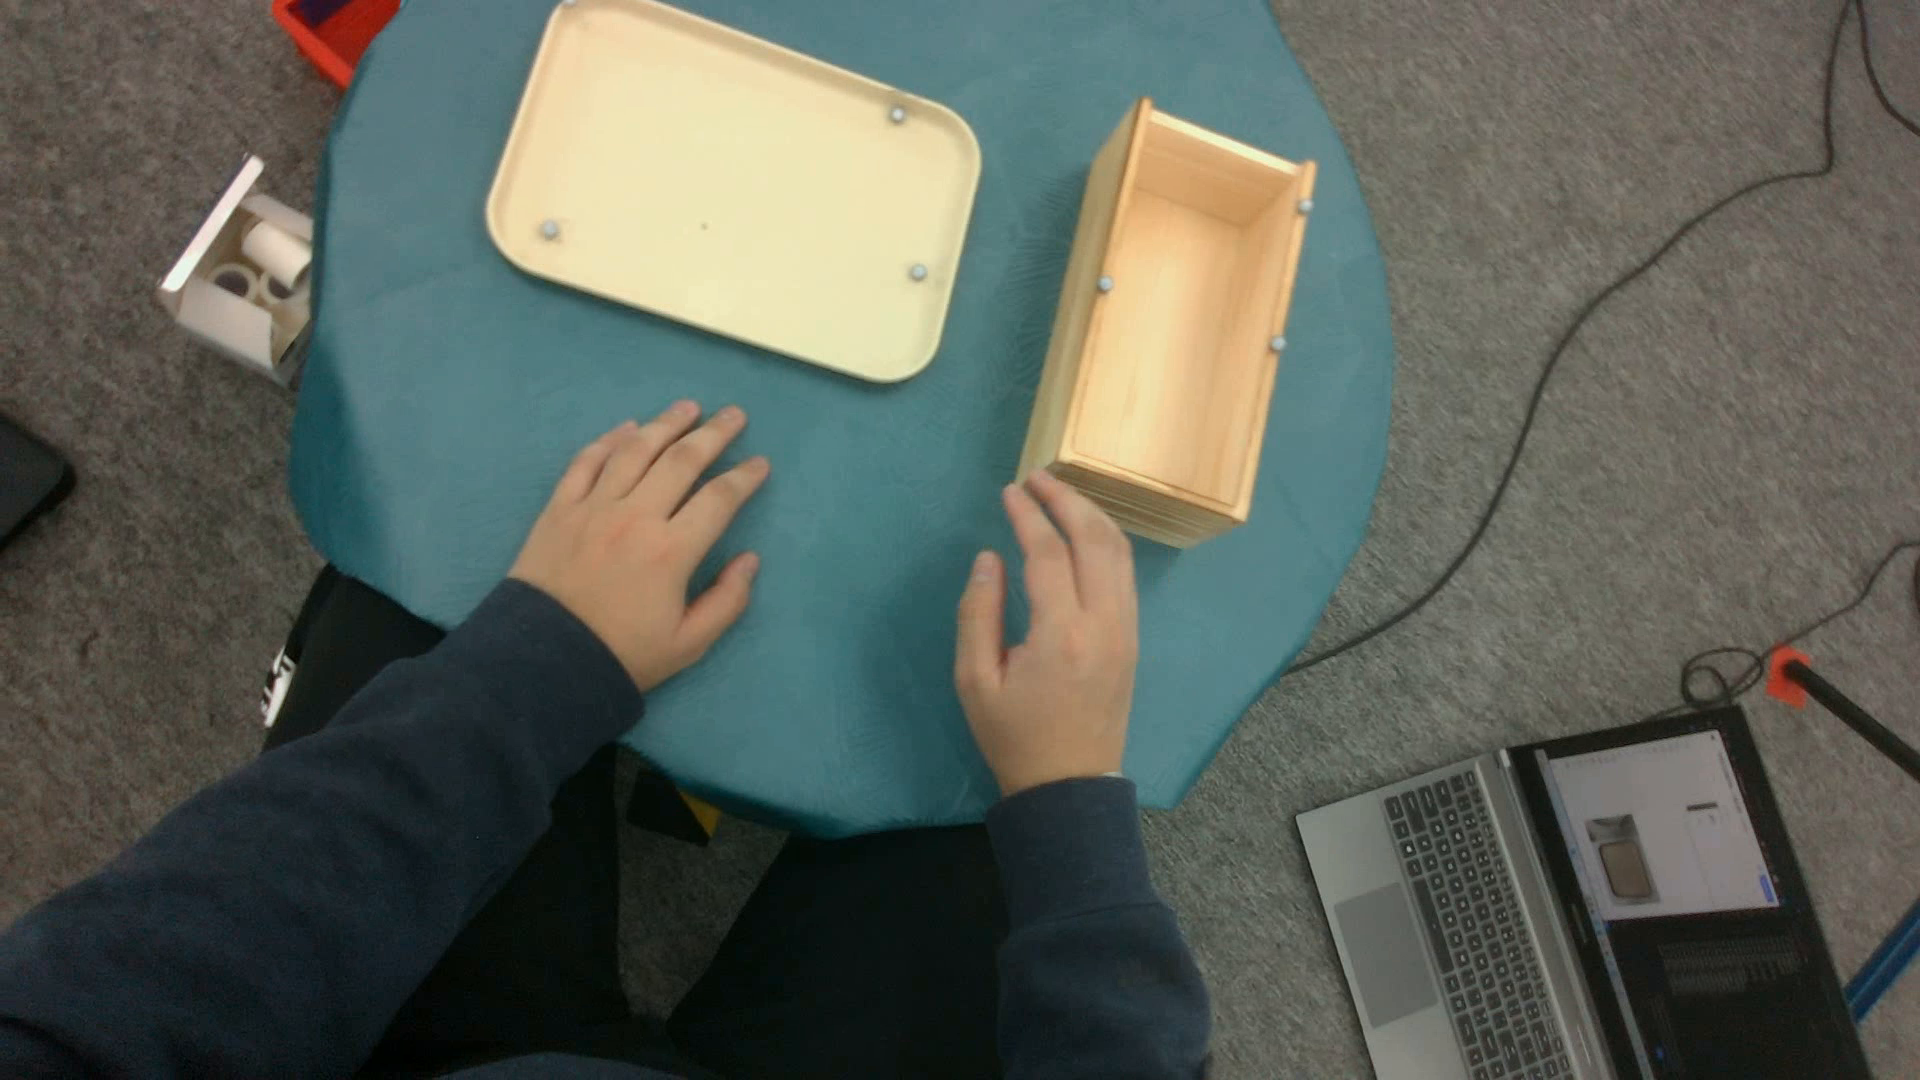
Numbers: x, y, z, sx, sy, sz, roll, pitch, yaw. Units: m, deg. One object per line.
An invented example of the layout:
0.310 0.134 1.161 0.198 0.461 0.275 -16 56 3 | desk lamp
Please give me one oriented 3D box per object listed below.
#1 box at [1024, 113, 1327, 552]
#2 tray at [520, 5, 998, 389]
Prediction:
0.120 -0.113 0.767 0.107 0.080 0.212 18 75 -10 | box
-0.105 -0.186 0.757 0.240 0.017 0.171 17 75 -11 | tray
